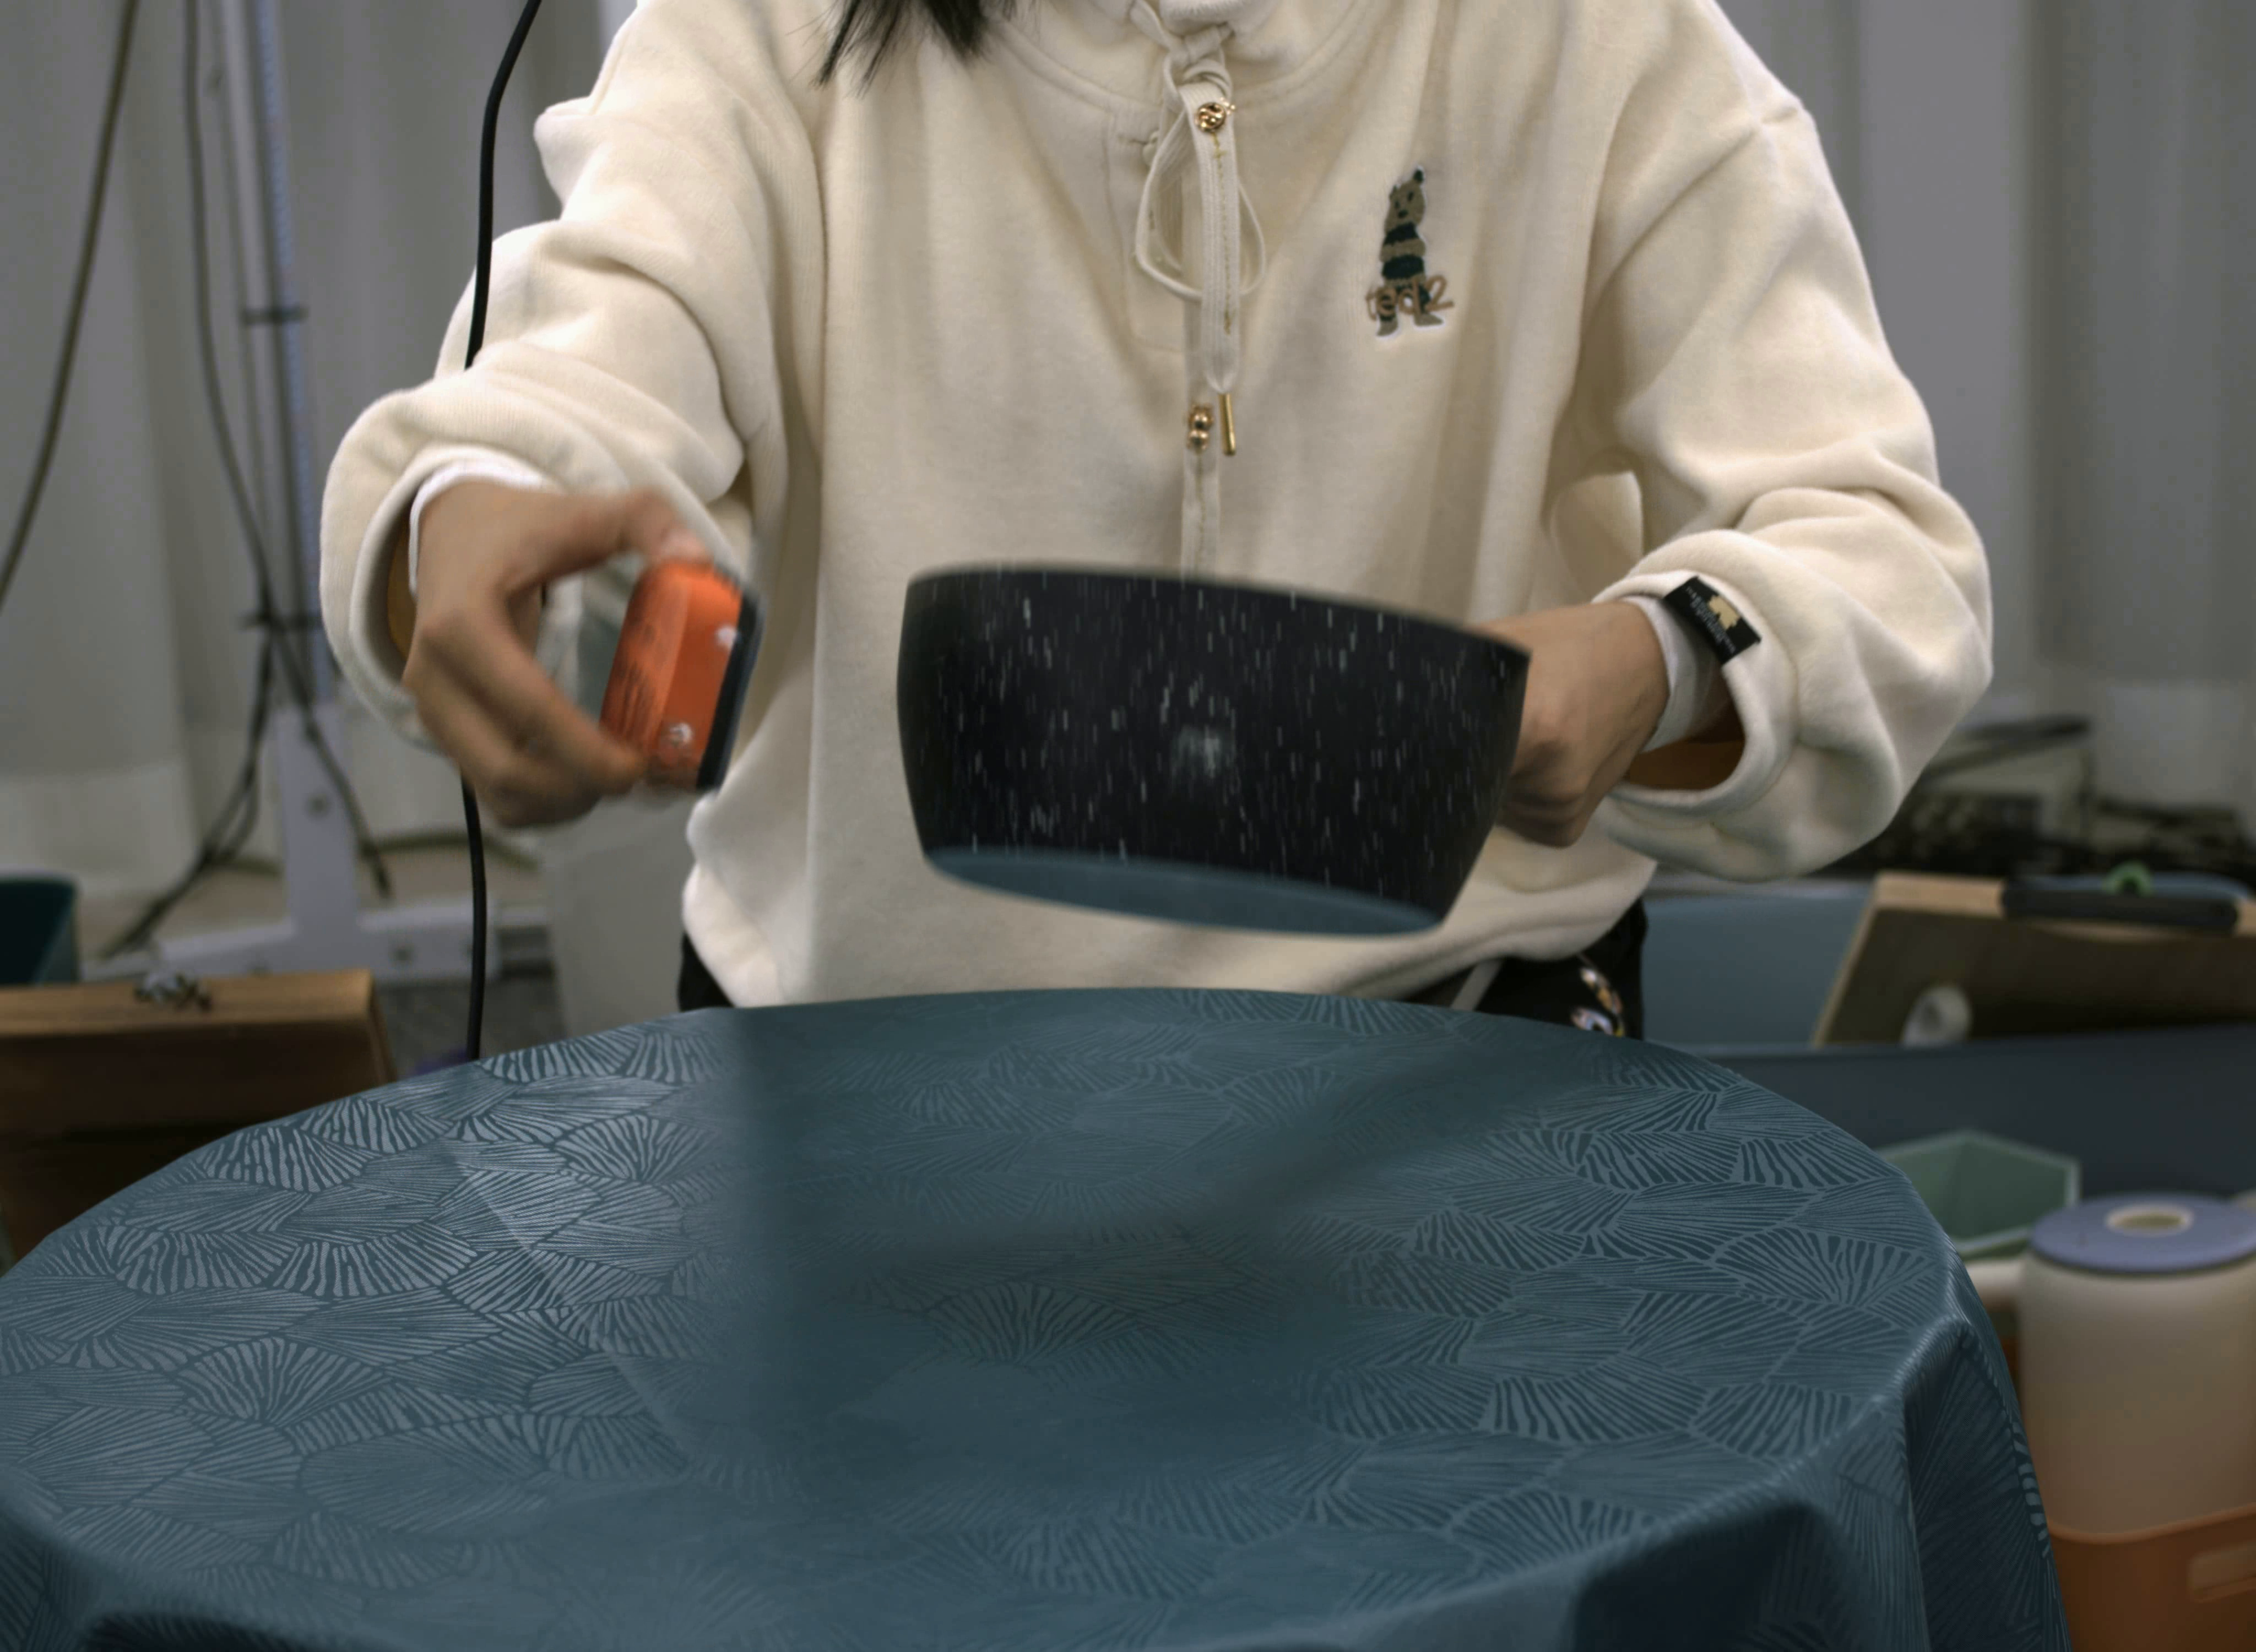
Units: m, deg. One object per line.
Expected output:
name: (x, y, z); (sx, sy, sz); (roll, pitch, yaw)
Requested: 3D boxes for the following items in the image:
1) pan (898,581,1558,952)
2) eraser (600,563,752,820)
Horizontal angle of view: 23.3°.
pan: (0.055, -0.014, 1.673); (0.208, 0.109, 0.340); (4, -5, 25)
eraser: (-0.130, -0.039, 1.564); (0.023, 0.059, 0.109); (13, 8, -14)
